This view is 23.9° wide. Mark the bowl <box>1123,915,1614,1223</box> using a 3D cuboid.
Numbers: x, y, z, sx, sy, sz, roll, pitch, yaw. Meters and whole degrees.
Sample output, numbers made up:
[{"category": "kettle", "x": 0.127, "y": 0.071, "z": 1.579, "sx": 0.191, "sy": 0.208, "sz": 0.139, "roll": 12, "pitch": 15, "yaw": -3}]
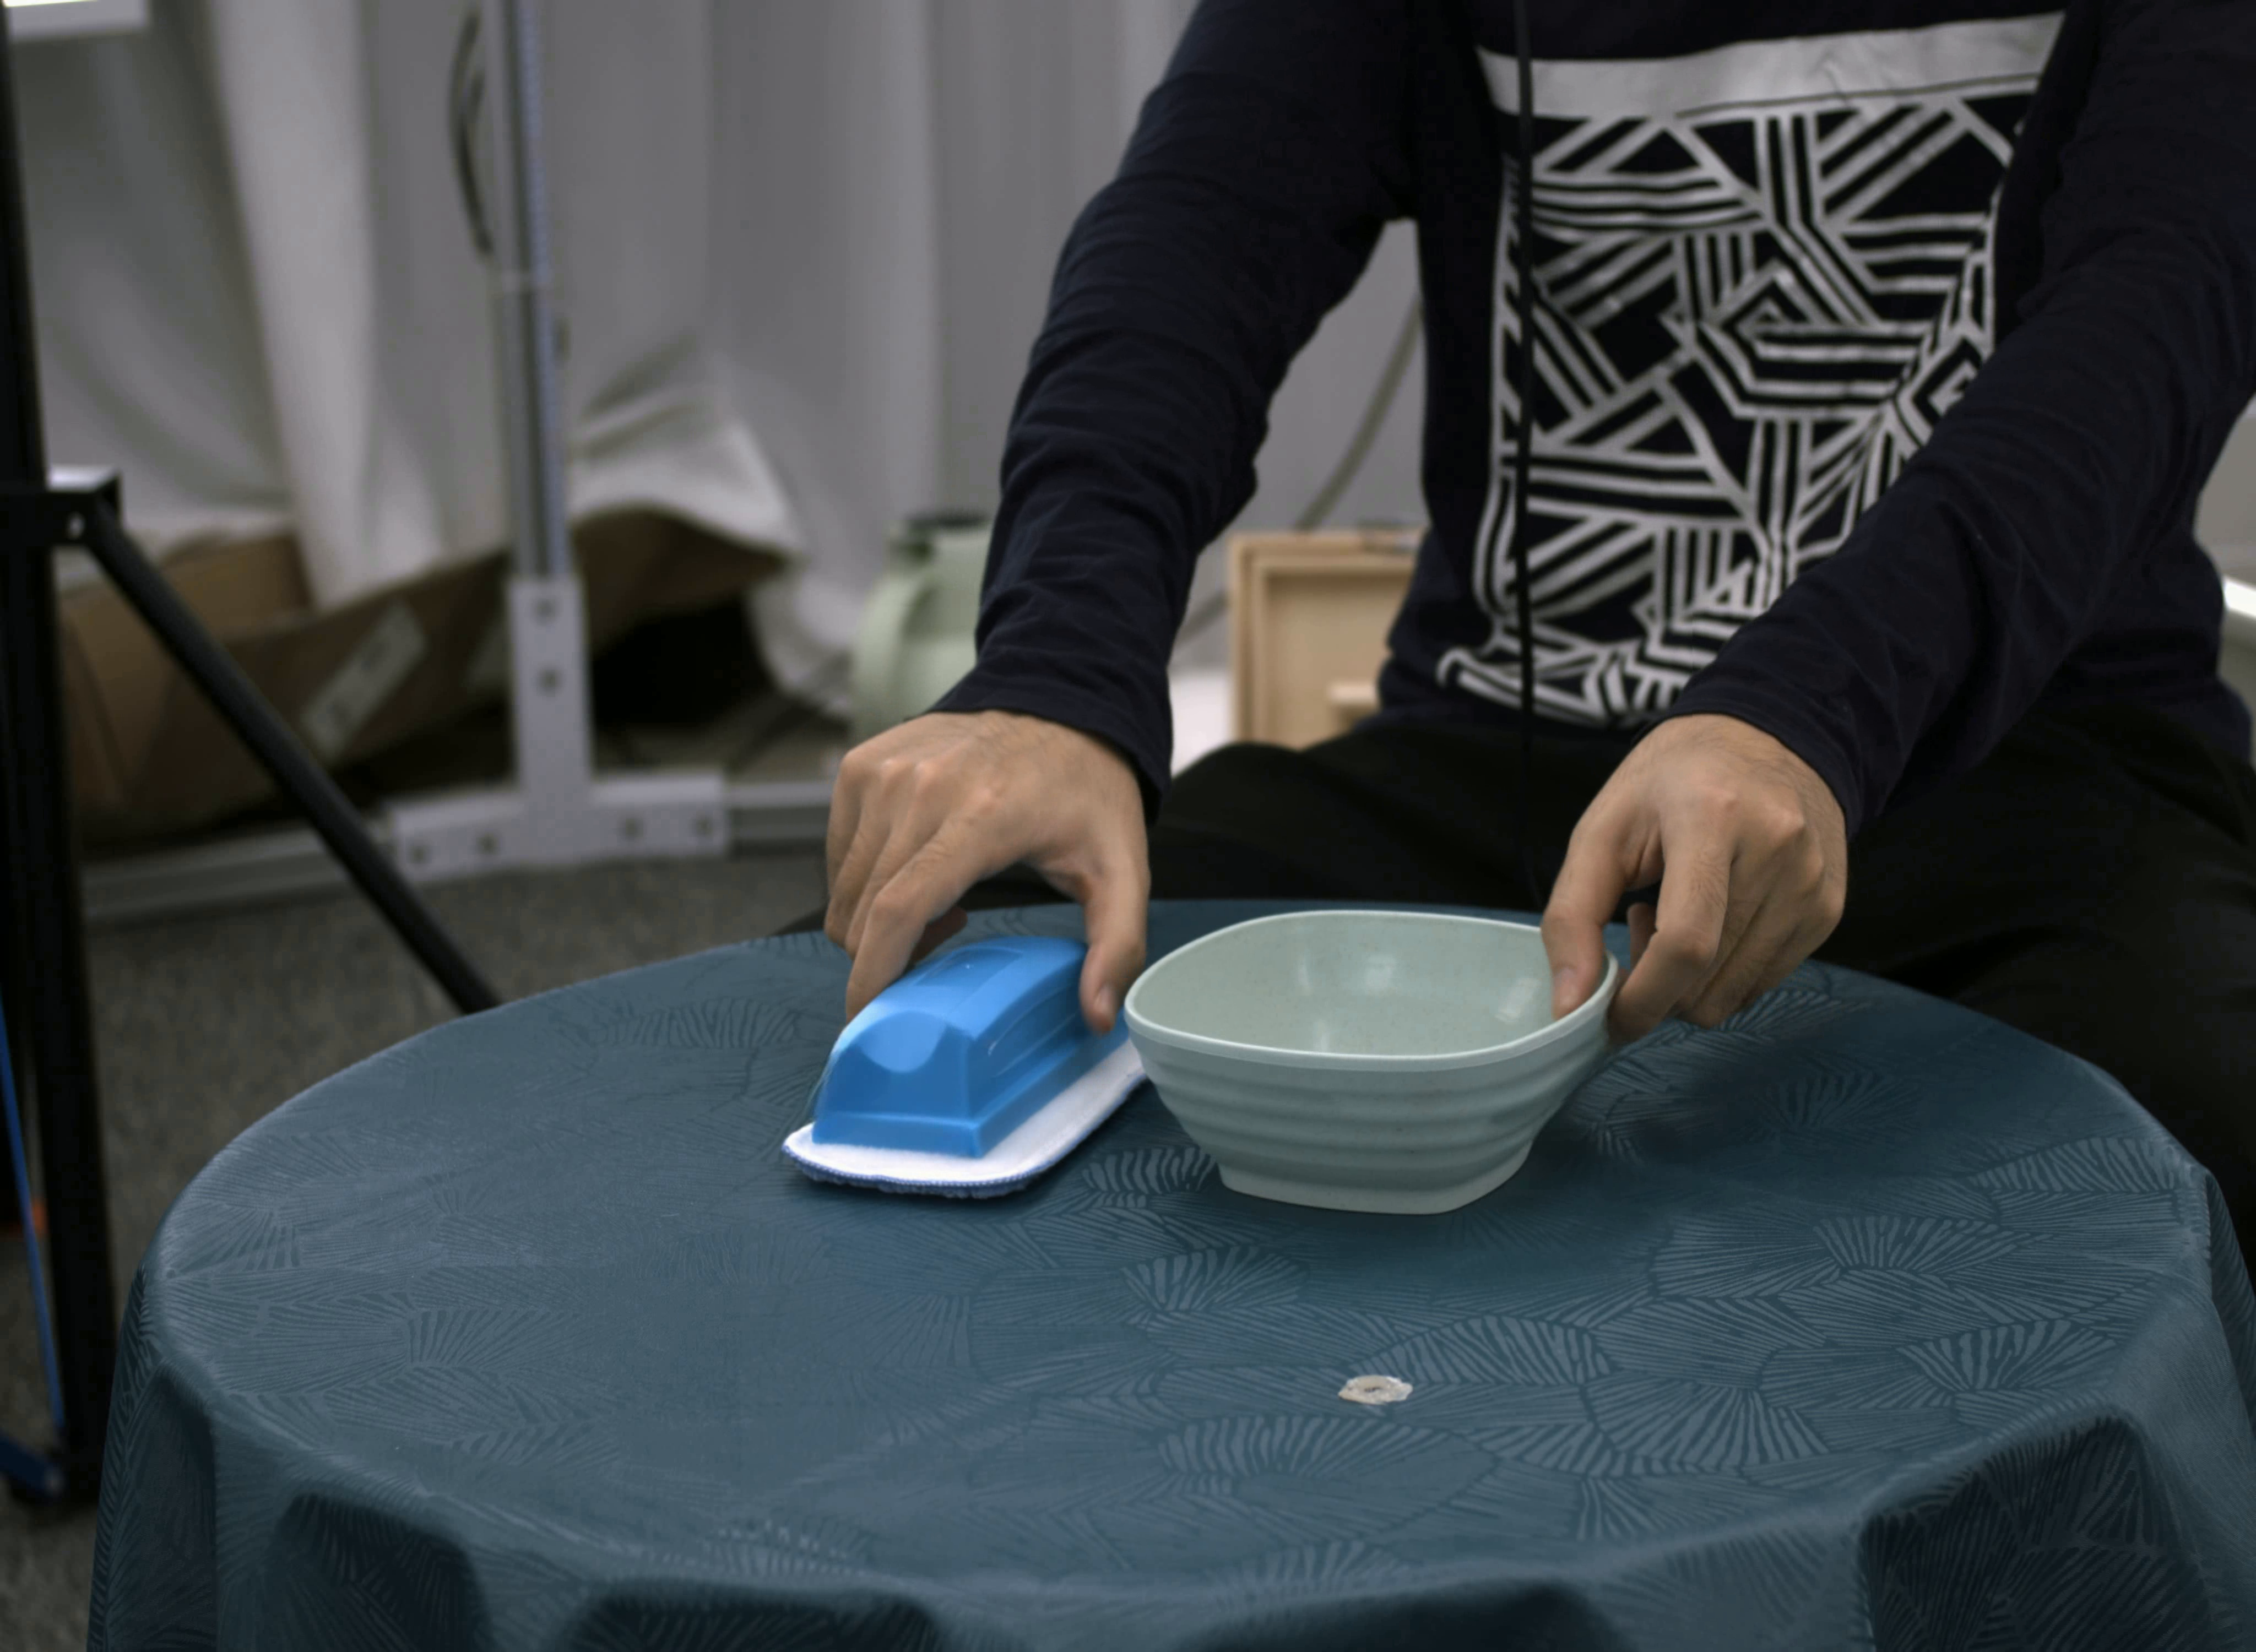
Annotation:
[{"category": "bowl", "x": 0.071, "y": 0.075, "z": 1.570, "sx": 0.150, "sy": 0.058, "sz": 0.152, "roll": -1, "pitch": 15, "yaw": -1}]

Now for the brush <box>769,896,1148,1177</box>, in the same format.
[{"category": "brush", "x": -0.047, "y": 0.060, "z": 1.625, "sx": 0.085, "sy": 0.056, "sz": 0.142, "roll": 9, "pitch": 20, "yaw": 22}]
